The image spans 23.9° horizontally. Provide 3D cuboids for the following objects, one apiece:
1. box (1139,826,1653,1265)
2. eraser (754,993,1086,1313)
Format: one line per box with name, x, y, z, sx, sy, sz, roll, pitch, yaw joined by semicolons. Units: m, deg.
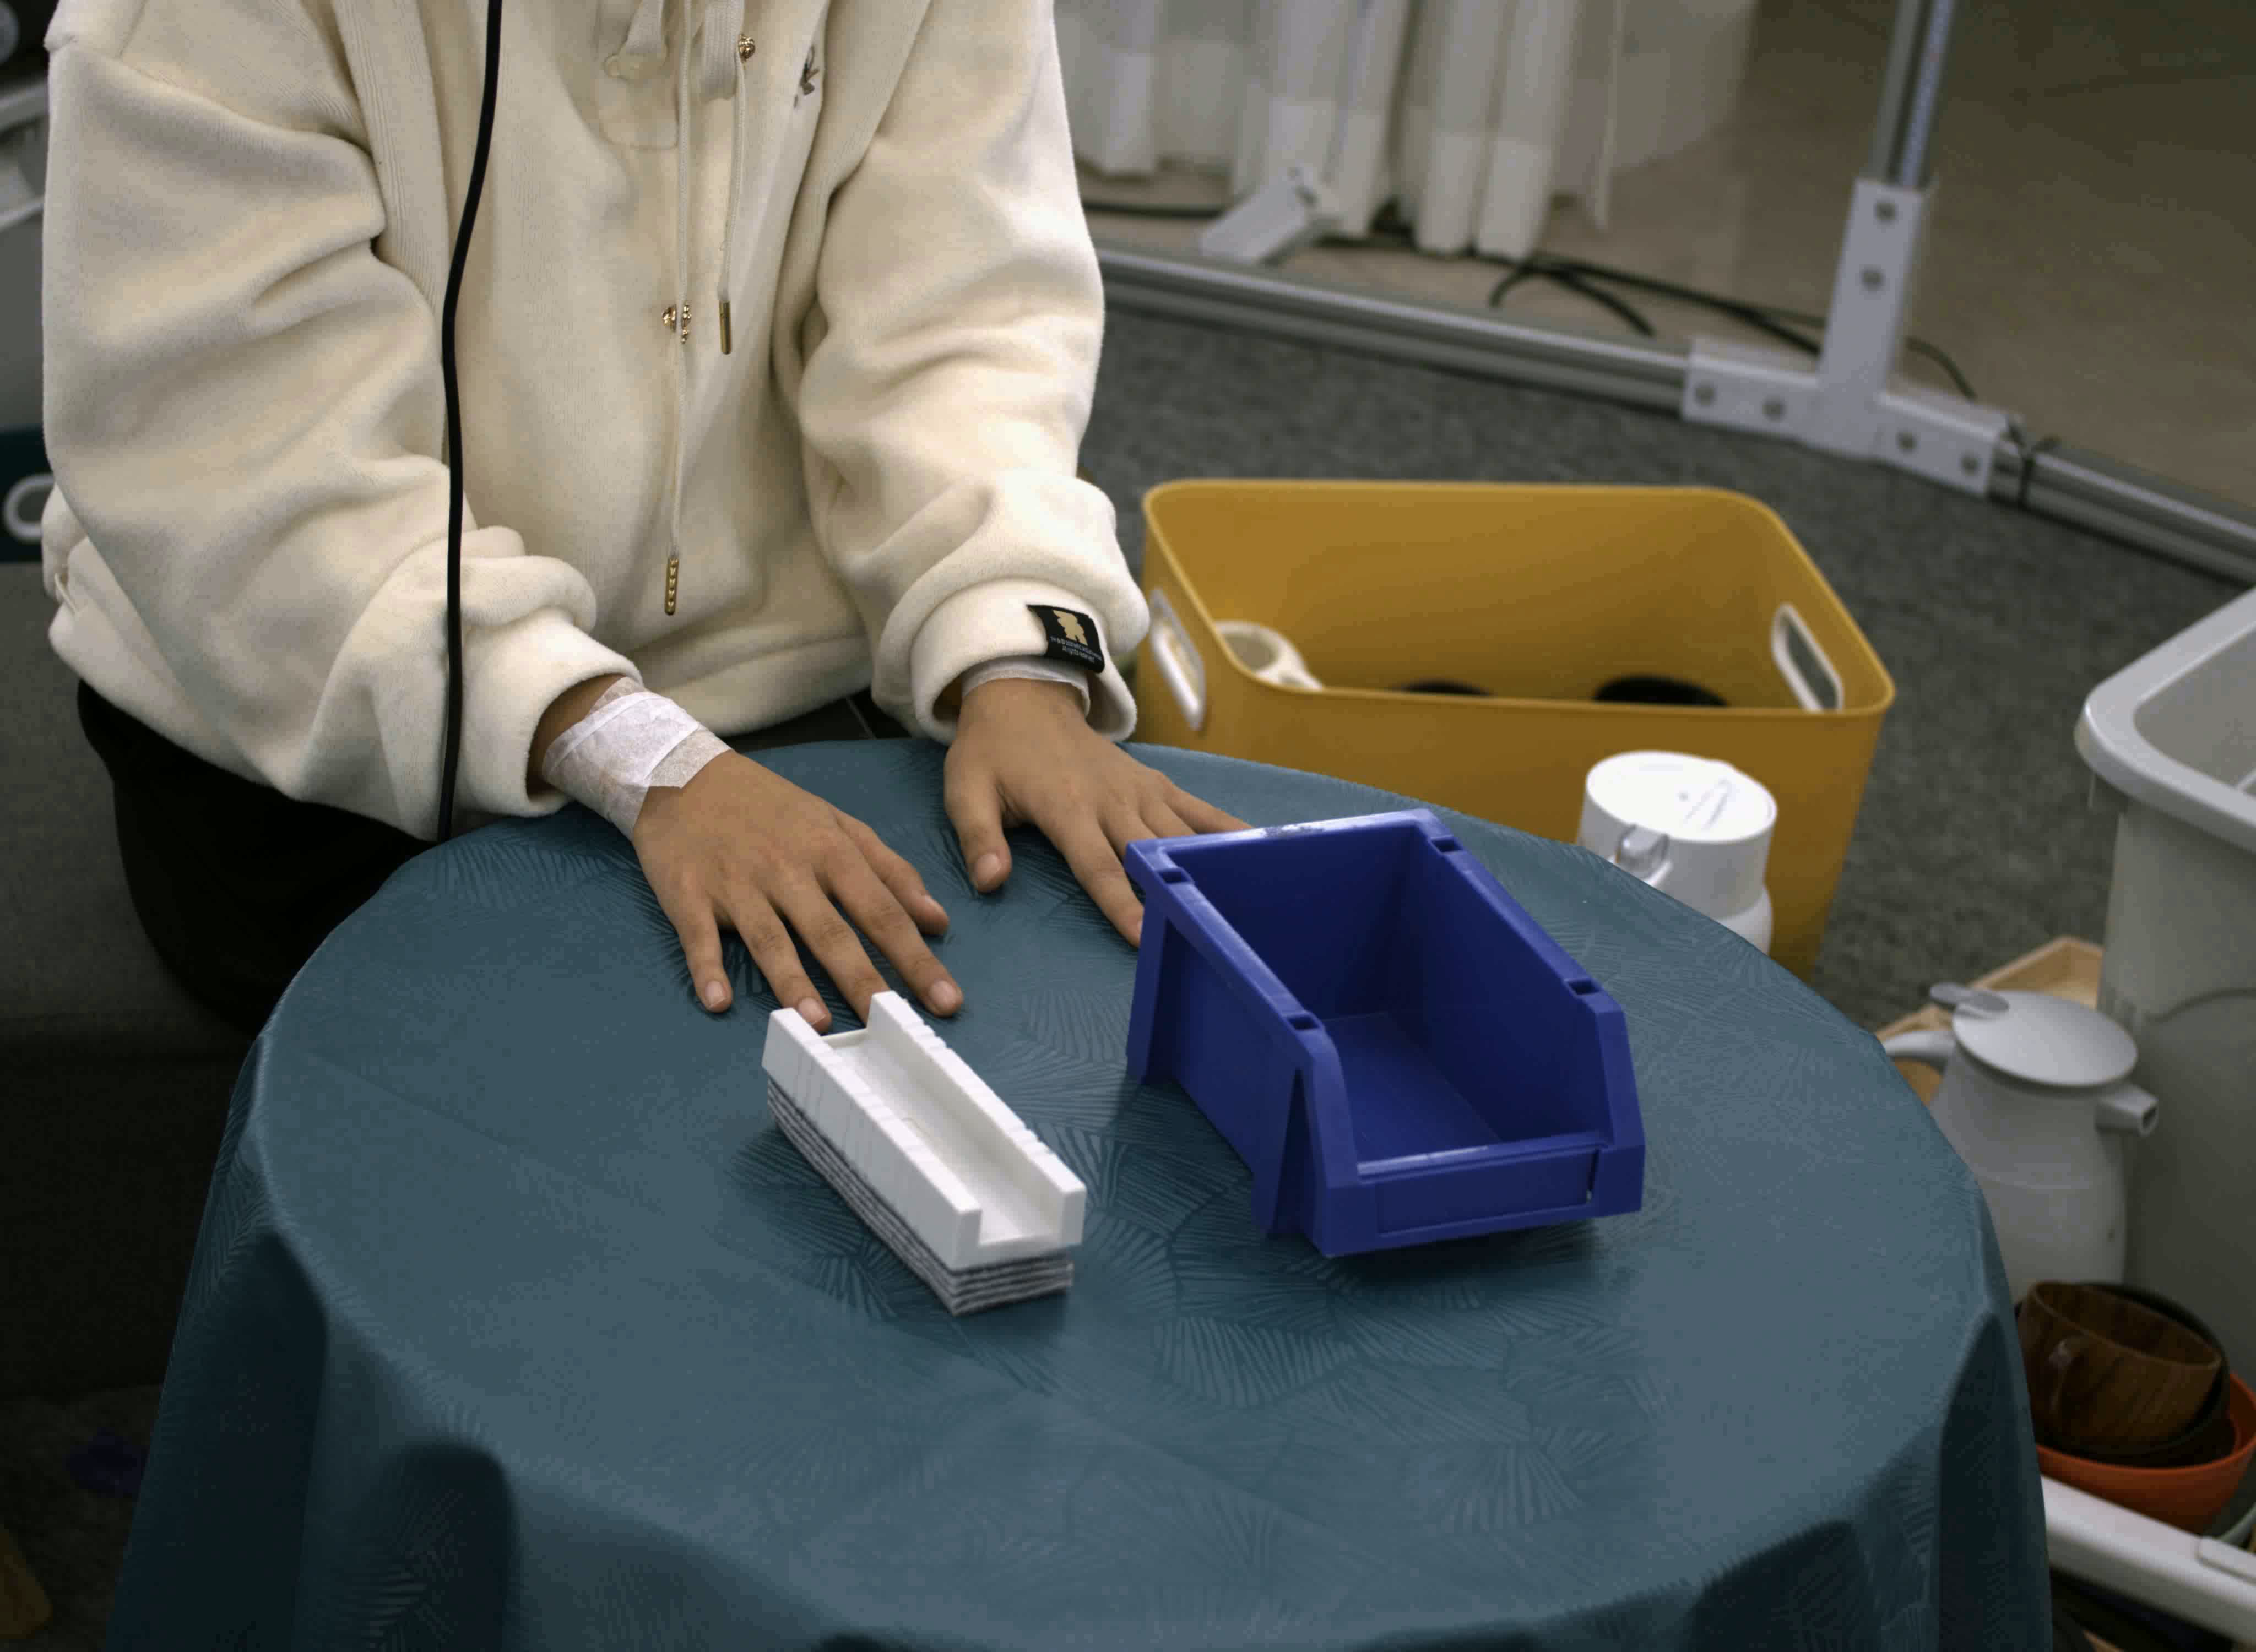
box;0.091;0.079;1.820;0.124;0.081;0.181;-5;27;-22
eraser;-0.071;0.107;1.766;0.049;0.046;0.135;-12;34;-30
